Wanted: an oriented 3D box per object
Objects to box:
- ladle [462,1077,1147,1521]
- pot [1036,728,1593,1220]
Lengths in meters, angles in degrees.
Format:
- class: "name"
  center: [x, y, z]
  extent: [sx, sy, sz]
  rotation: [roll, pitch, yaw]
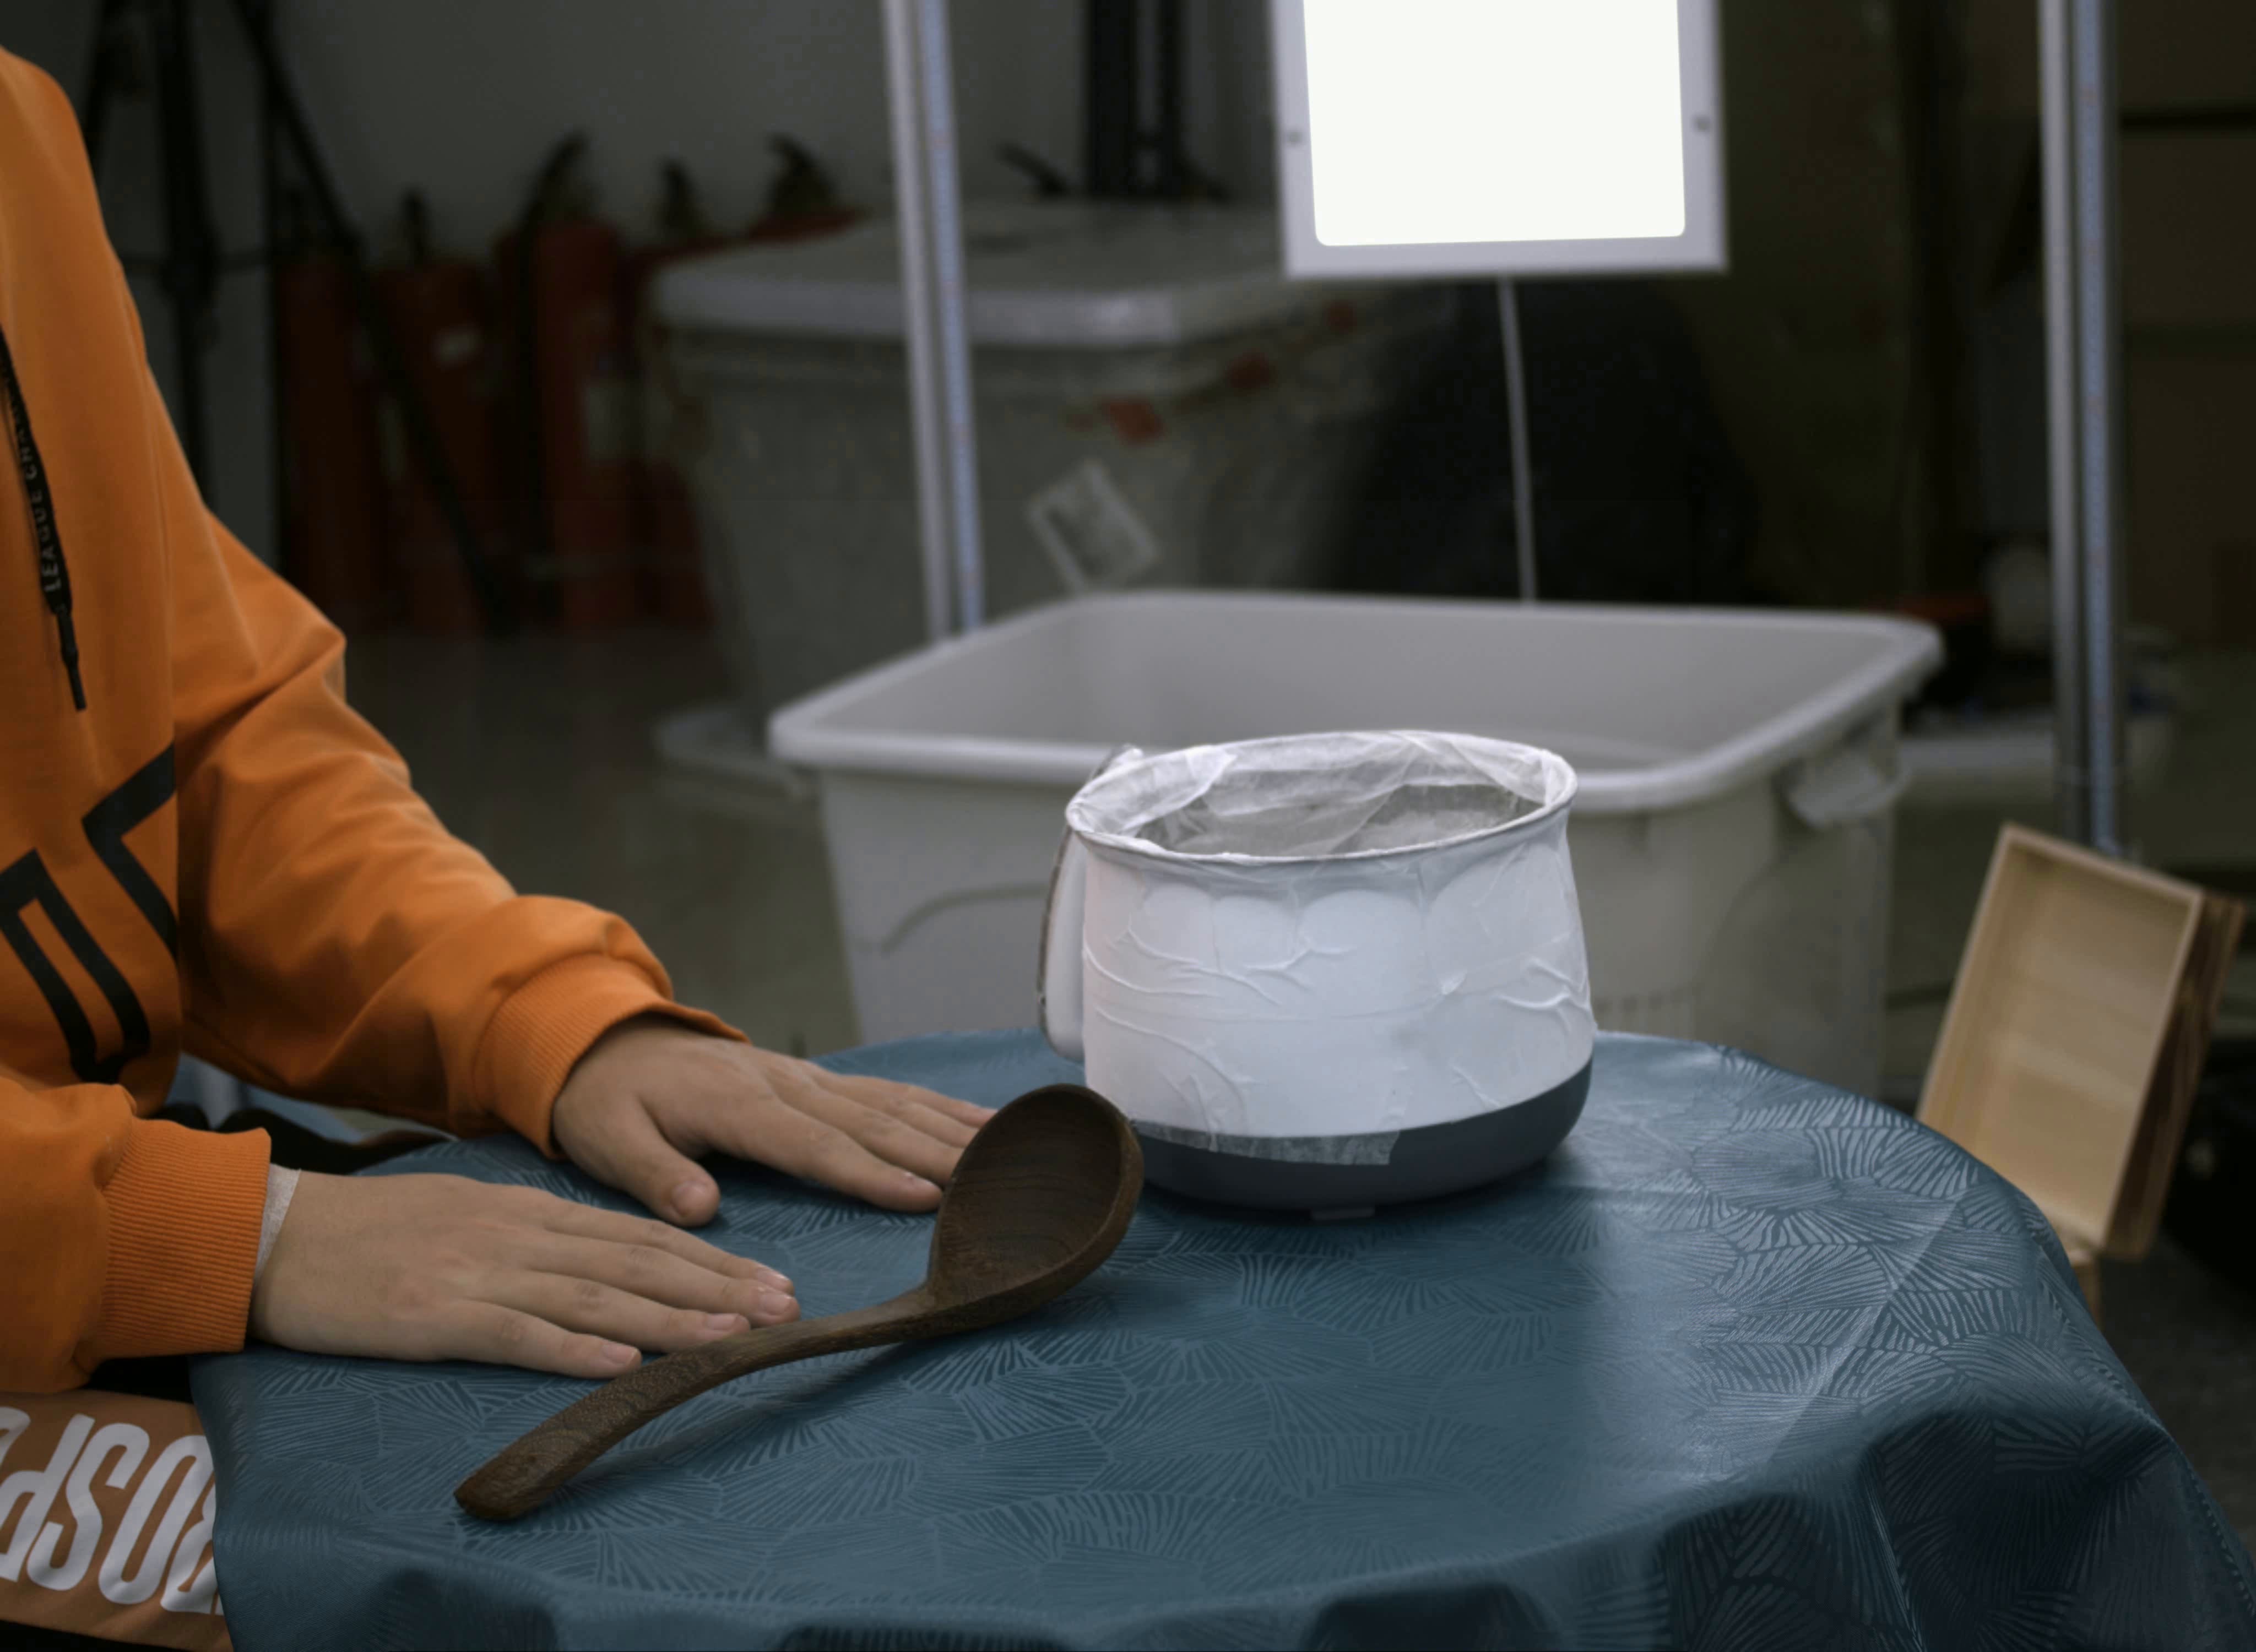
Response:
- class: "ladle"
  center: [-0.101, 0.143, 1.721]
  extent: [0.267, 0.071, 0.078]
  rotation: [-17, 16, -42]
- class: "pot"
  center: [0.052, 0.046, 1.917]
  extent: [0.174, 0.137, 0.239]
  rotation: [-16, 18, -40]
